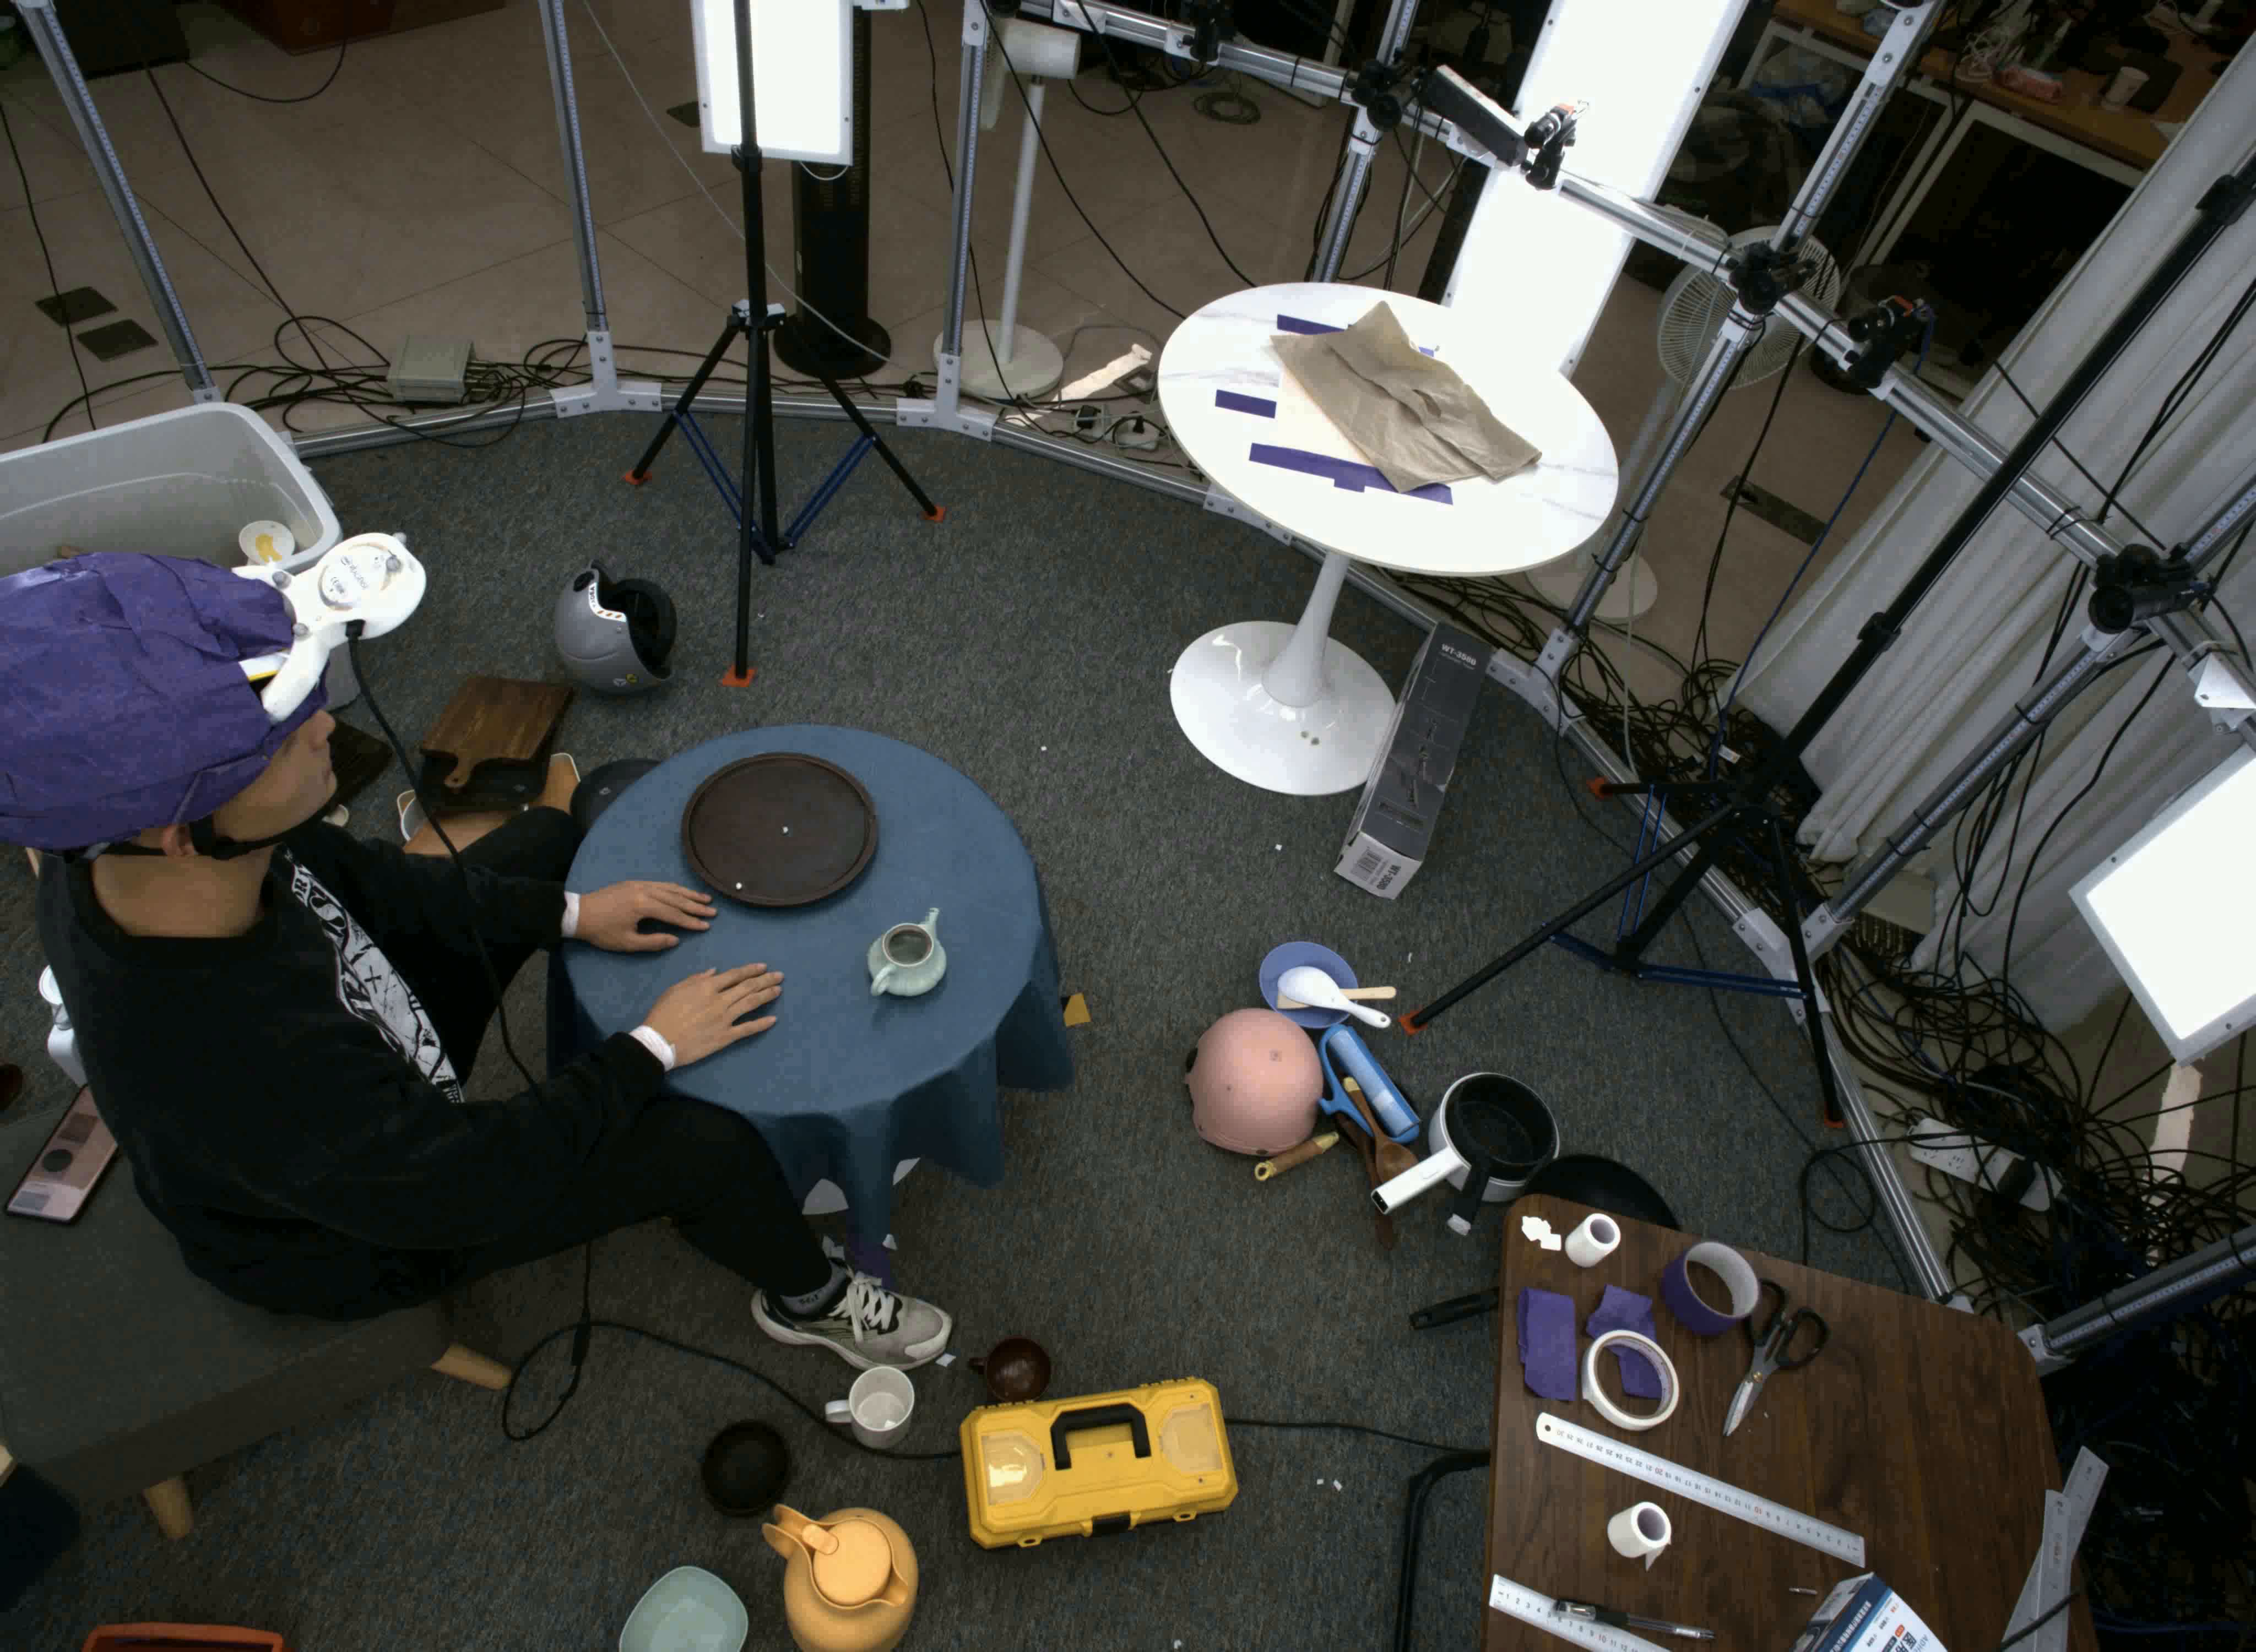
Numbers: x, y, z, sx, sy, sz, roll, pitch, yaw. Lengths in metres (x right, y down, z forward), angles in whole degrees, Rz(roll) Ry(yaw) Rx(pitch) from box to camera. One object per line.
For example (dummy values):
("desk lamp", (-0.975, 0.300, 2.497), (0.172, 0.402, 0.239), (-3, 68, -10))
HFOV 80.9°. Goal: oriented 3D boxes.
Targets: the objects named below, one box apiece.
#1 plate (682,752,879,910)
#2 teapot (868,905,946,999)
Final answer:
("plate", (-0.454, 0.003, 1.695), (0.254, 0.029, 0.250), (9, 52, -10))
("teapot", (-0.274, 0.161, 1.601), (0.095, 0.062, 0.136), (27, 52, 6))
